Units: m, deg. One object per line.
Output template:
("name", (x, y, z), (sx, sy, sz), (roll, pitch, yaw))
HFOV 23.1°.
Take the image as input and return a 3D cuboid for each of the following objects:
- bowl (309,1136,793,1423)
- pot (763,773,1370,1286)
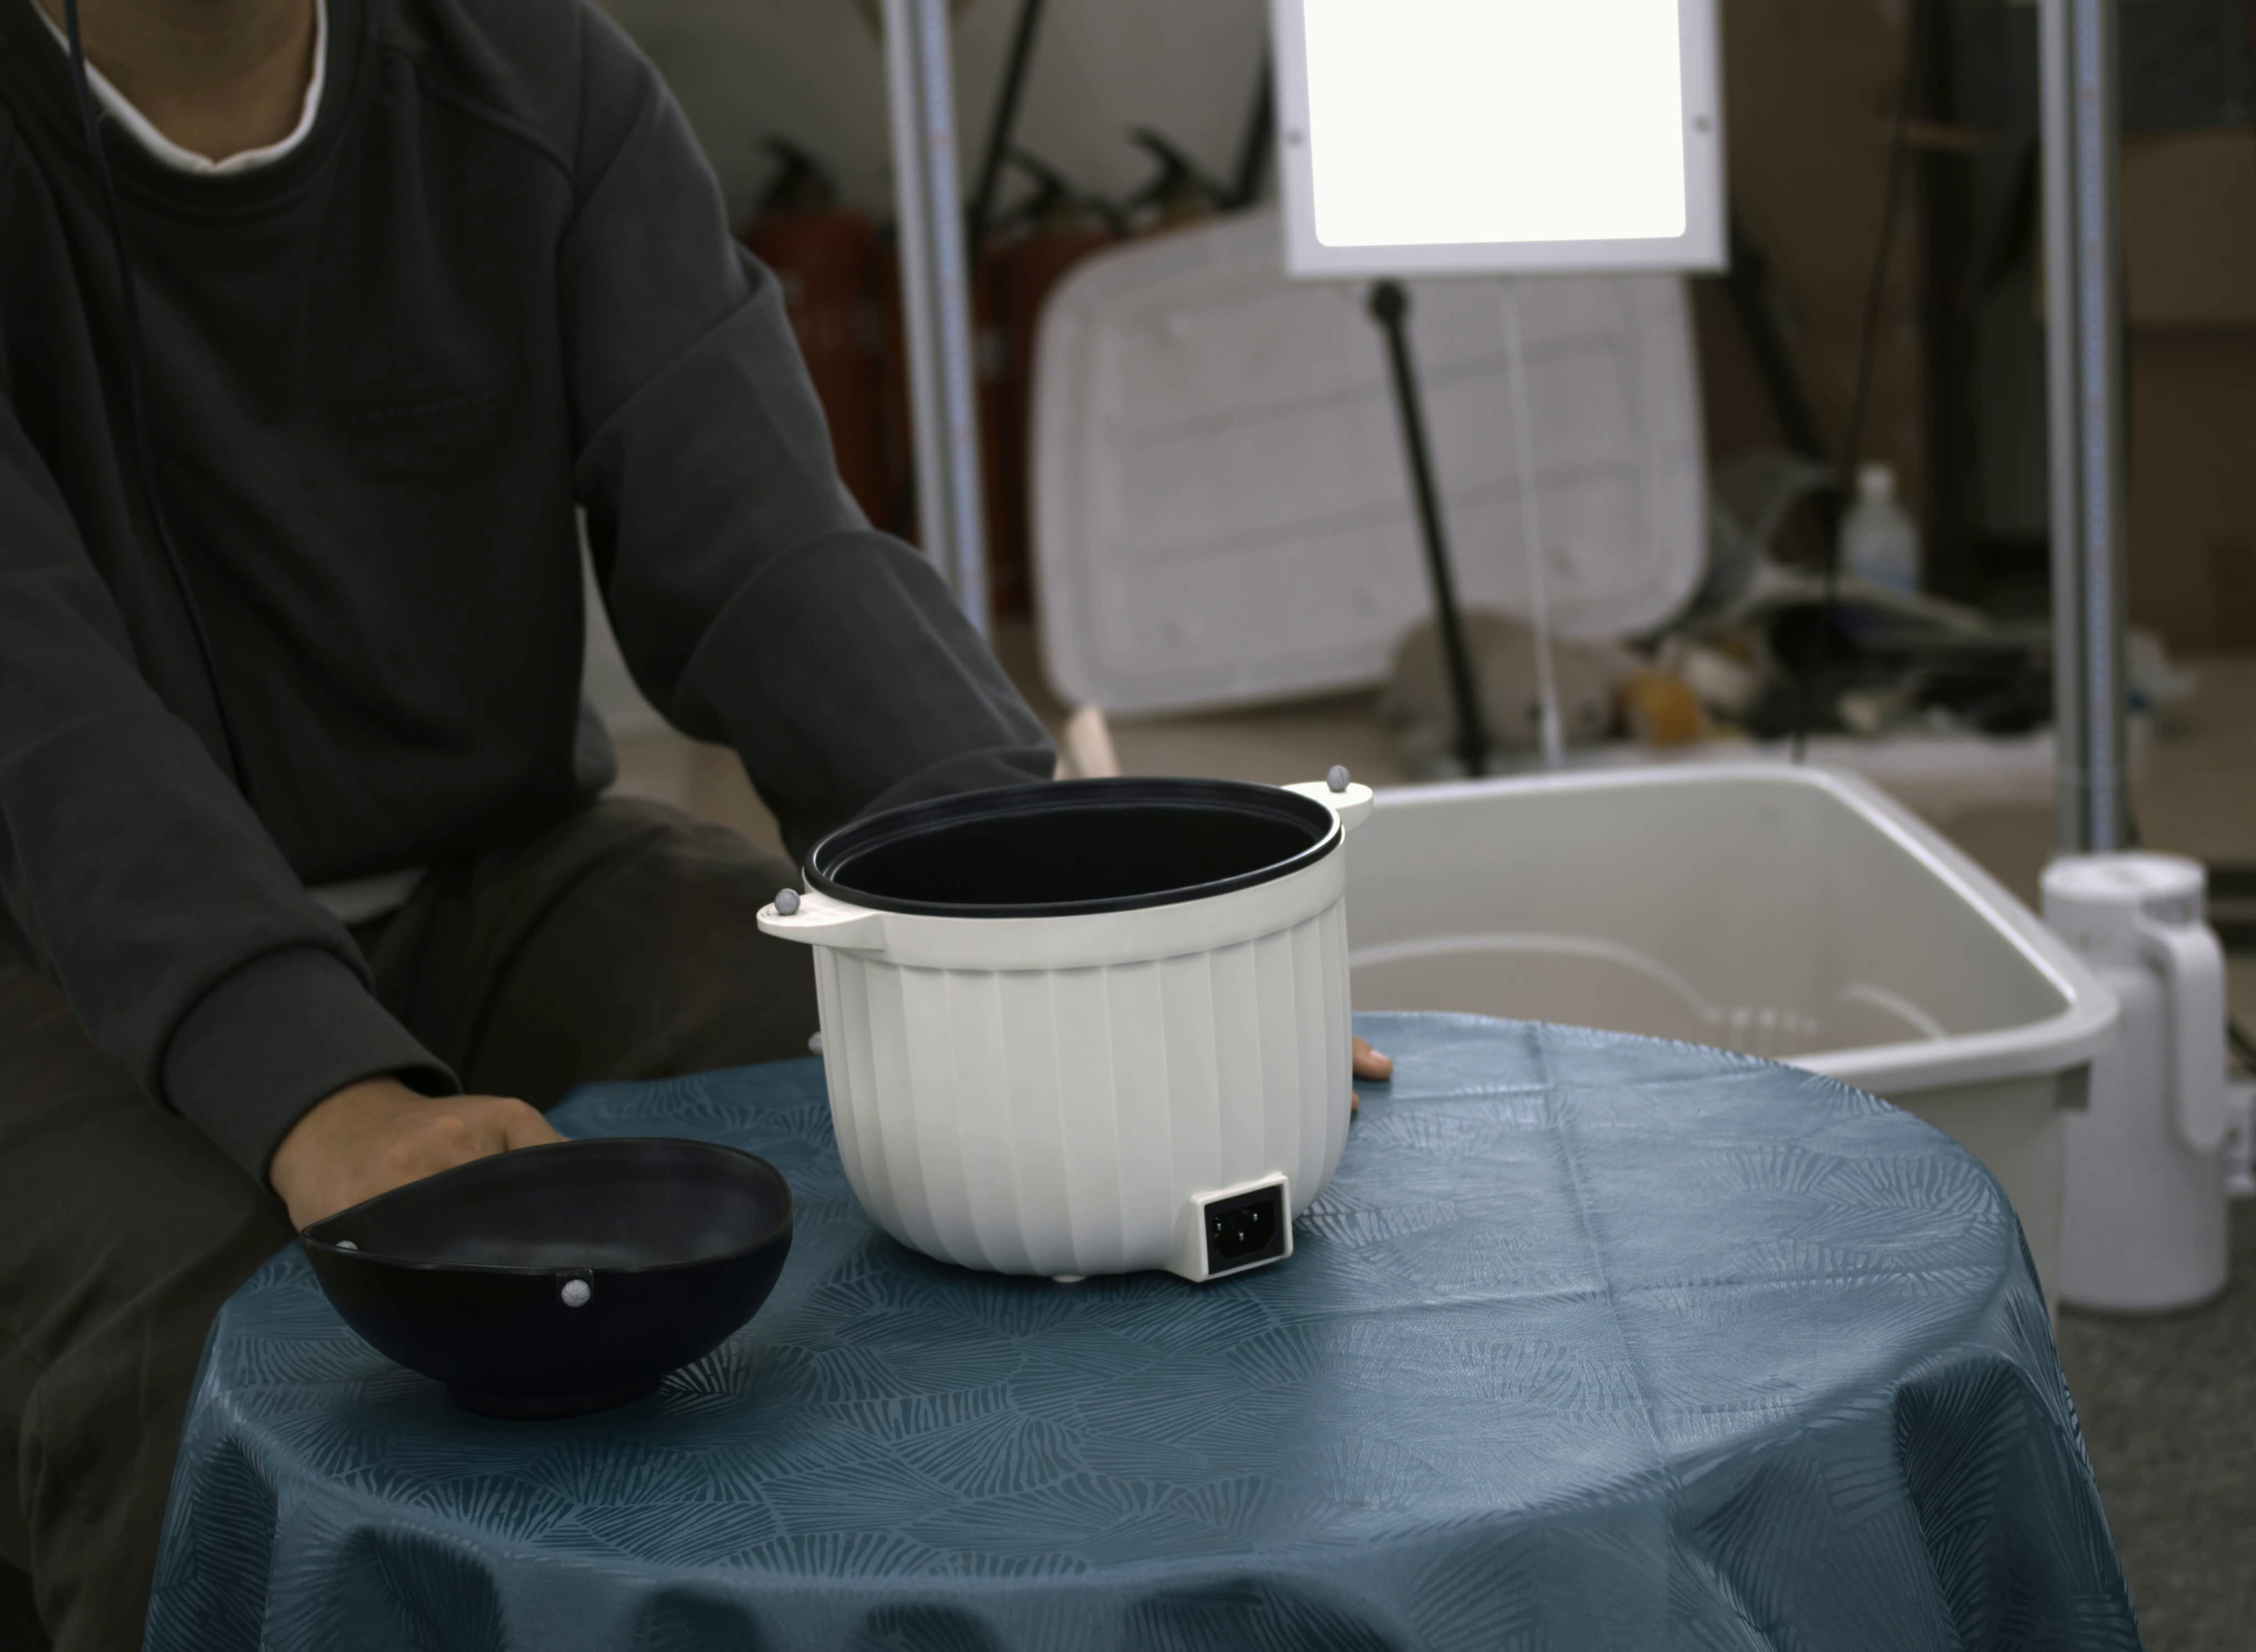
("bowl", (-0.181, 0.147, 1.742), (0.174, 0.067, 0.134), (3, 15, 35))
("pot", (-0.018, 0.068, 1.853), (0.234, 0.143, 0.194), (-12, 18, -32))
